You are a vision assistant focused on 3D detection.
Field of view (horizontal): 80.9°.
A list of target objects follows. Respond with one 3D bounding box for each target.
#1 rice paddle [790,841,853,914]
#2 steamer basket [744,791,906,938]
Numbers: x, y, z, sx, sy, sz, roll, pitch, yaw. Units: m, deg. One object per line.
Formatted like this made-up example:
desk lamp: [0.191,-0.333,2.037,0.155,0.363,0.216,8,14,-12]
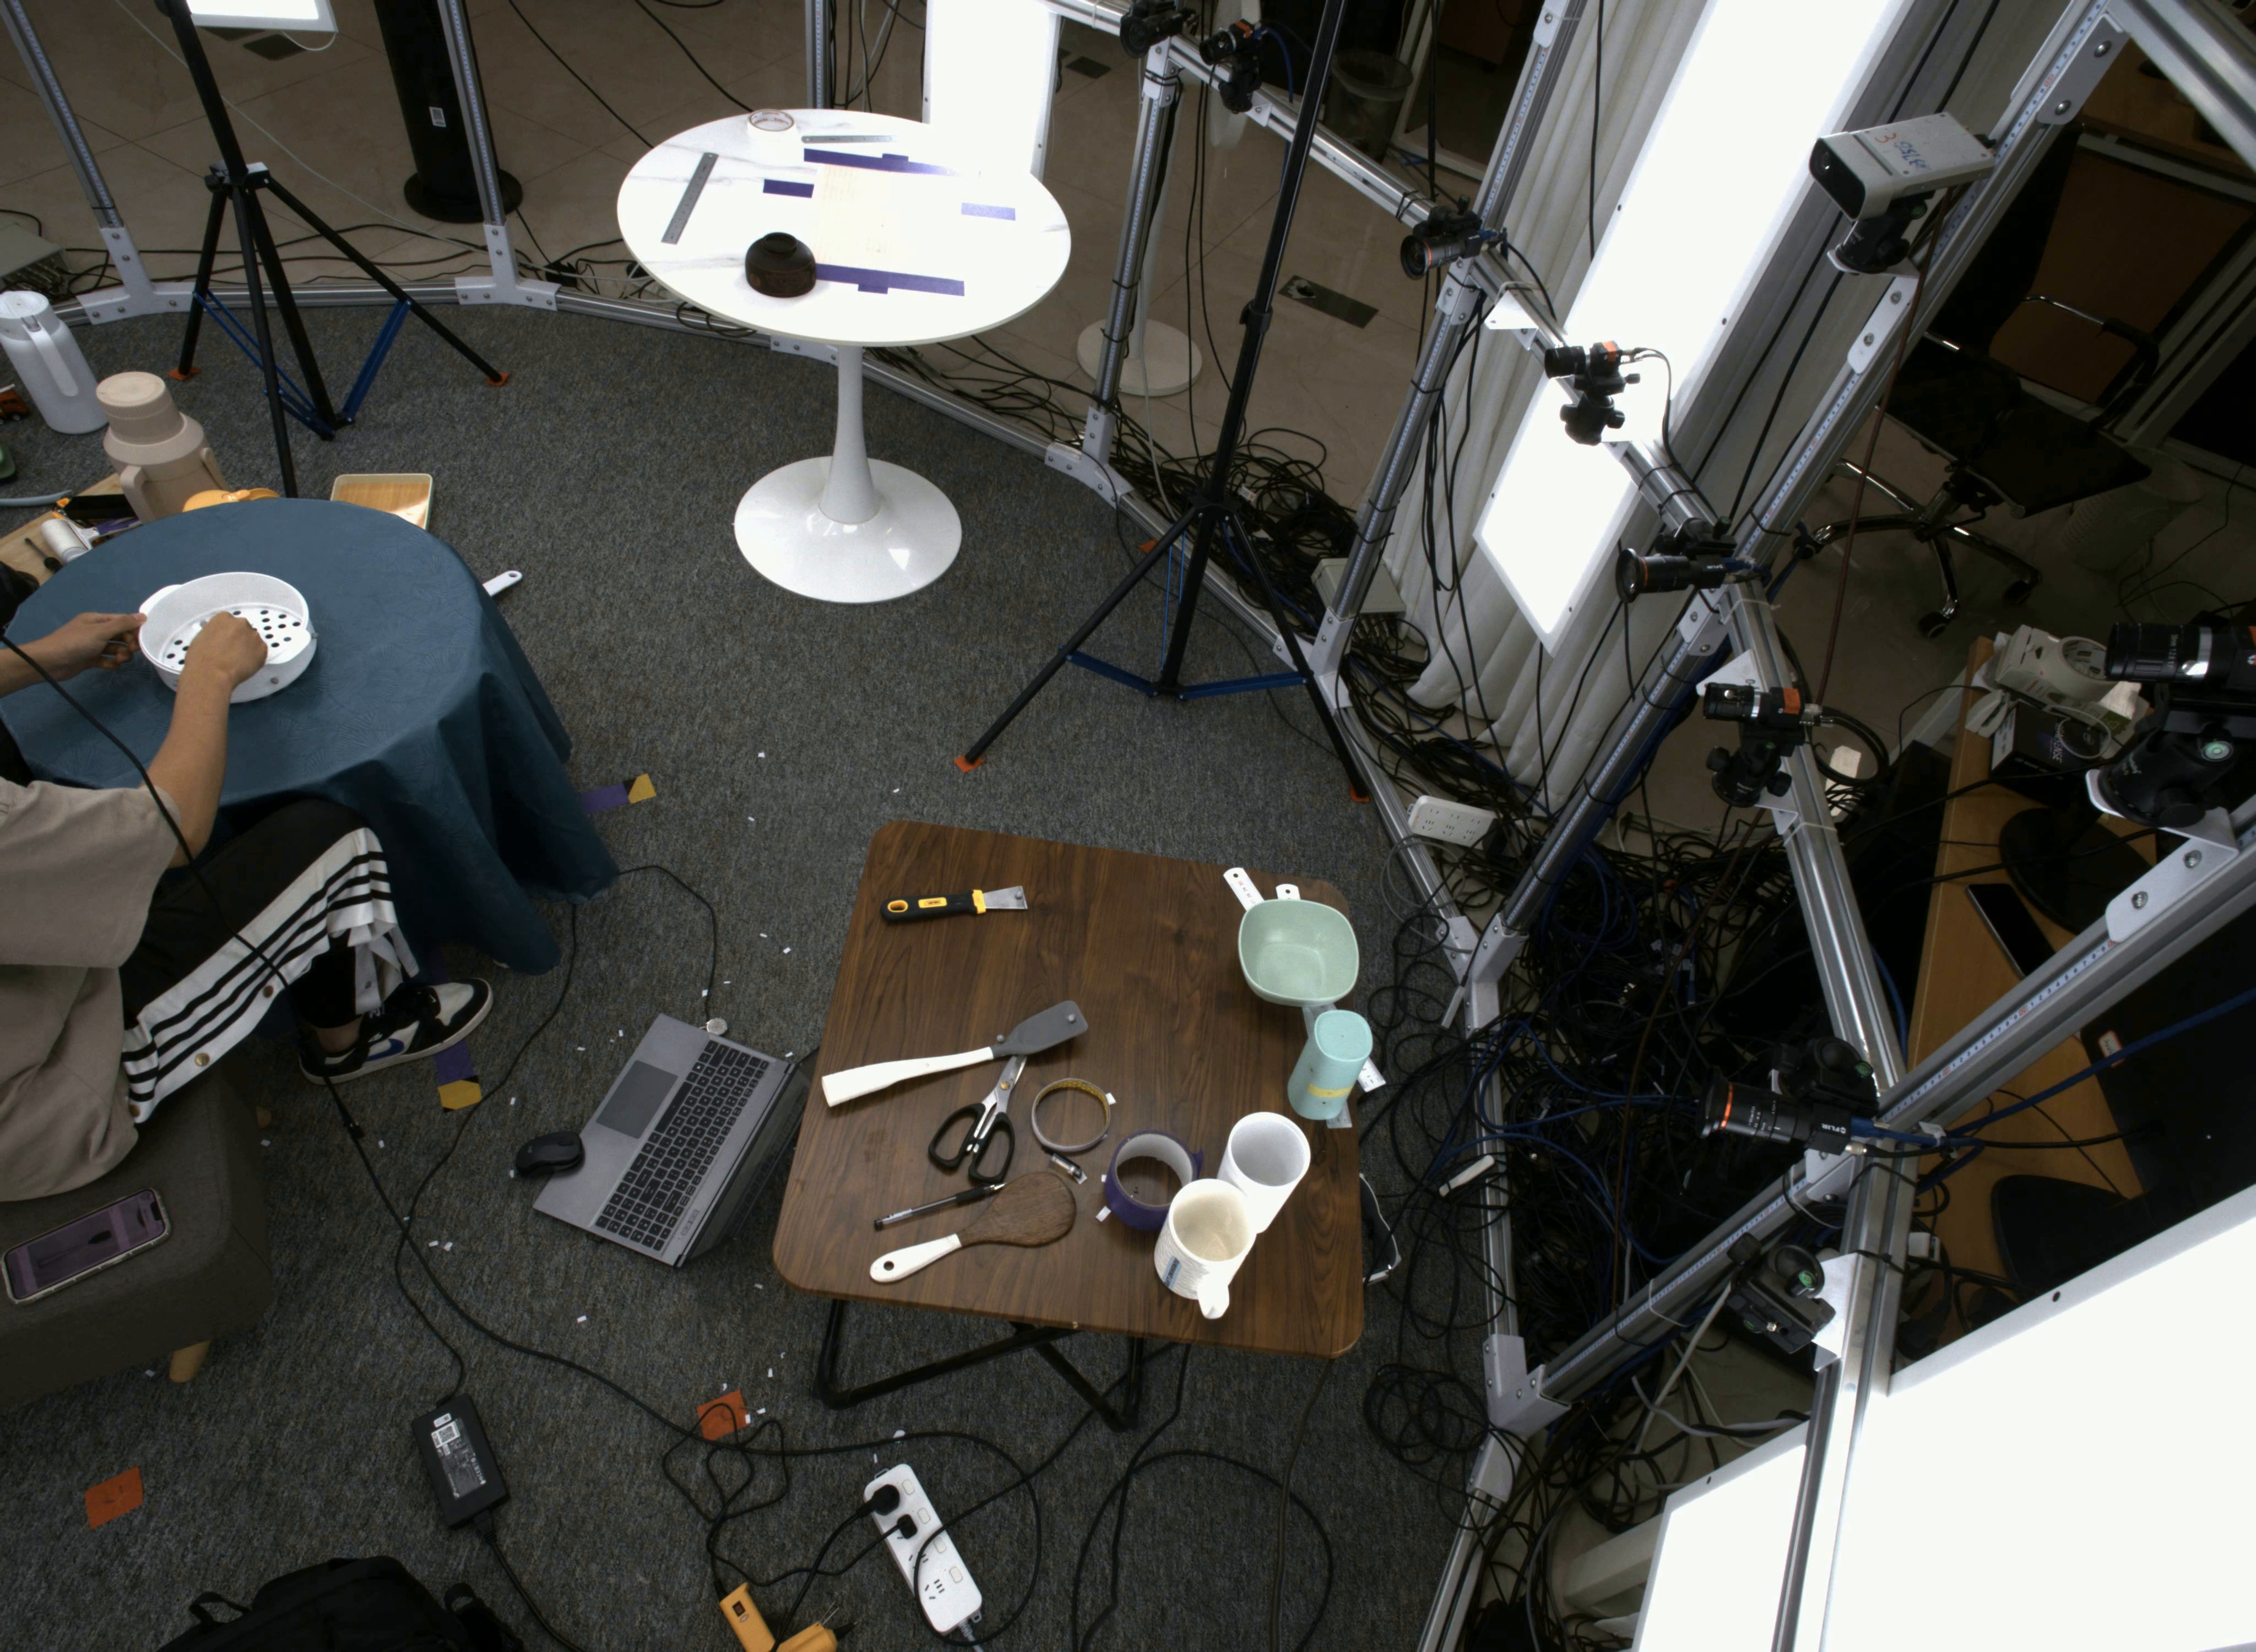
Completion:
rice paddle: [-0.373,0.052,1.598,0.069,0.030,0.198,3,20,-24]
steamer basket: [-0.387,0.049,1.666,0.225,0.071,0.201,31,53,14]
